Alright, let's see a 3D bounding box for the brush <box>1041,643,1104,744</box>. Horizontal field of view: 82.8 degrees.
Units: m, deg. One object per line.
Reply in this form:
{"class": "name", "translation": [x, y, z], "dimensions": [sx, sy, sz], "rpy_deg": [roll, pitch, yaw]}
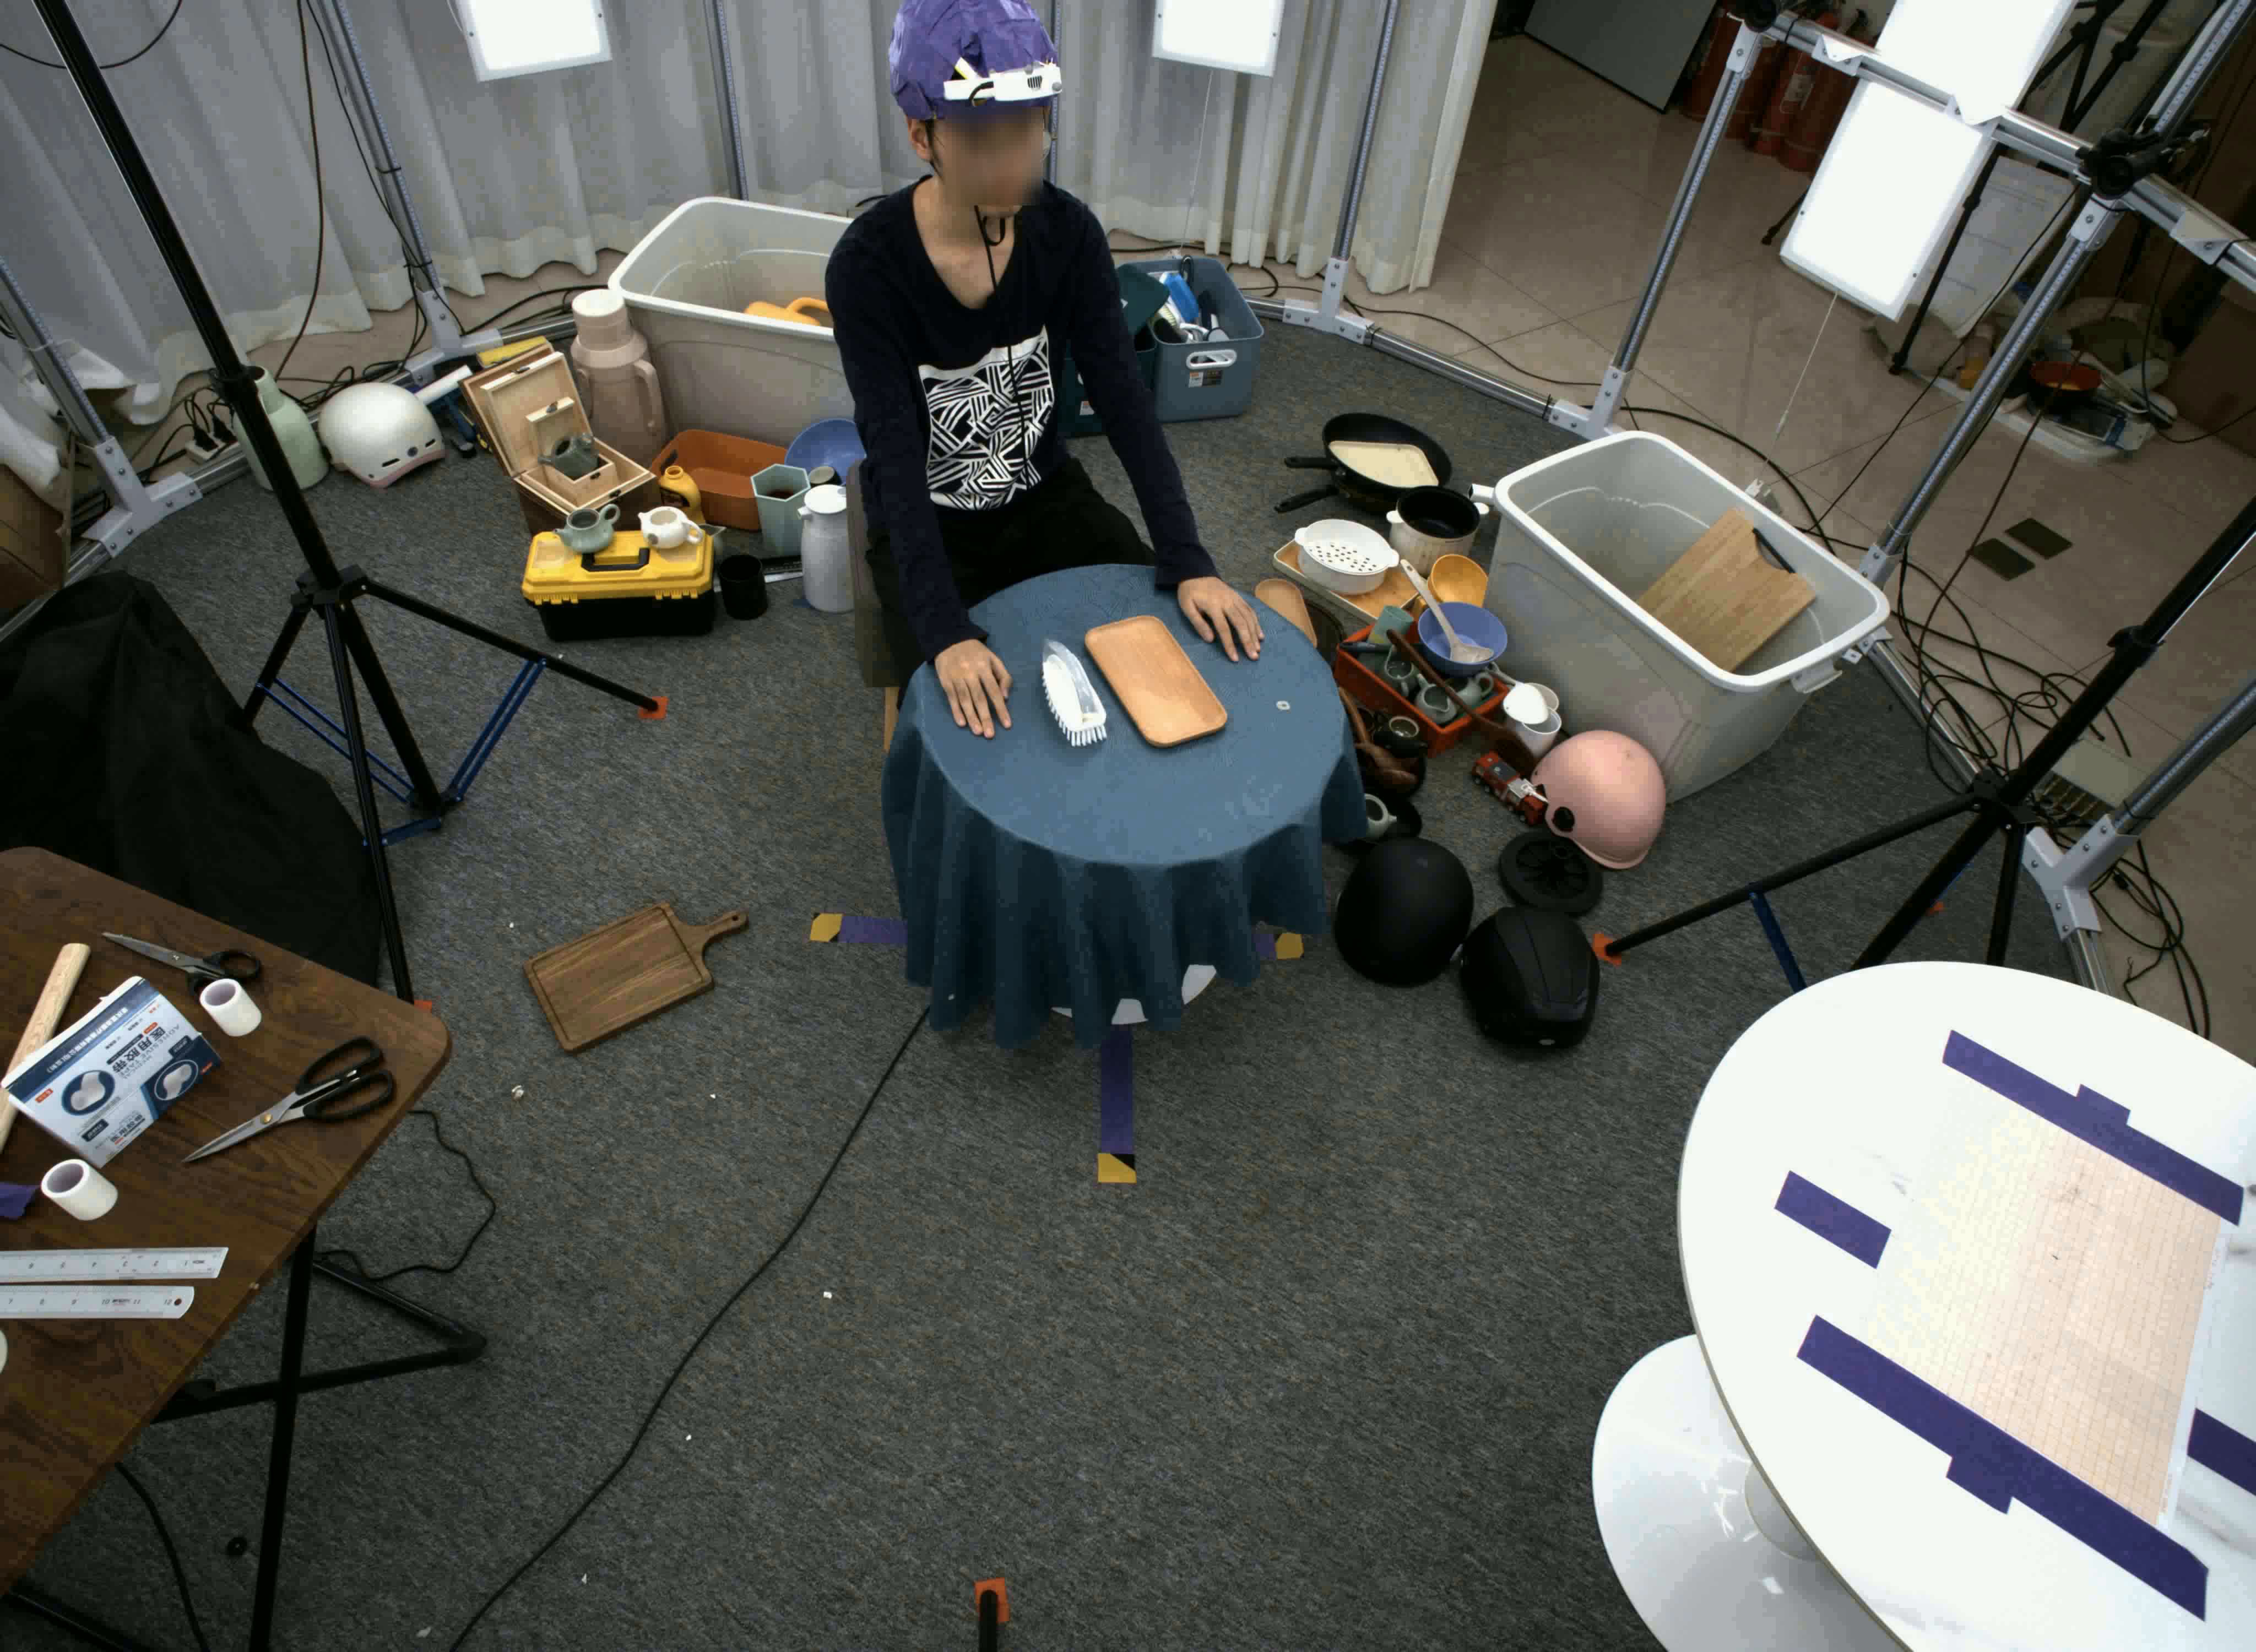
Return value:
{"class": "brush", "translation": [-0.085, -0.202, 1.779], "dimensions": [0.061, 0.092, 0.180], "rpy_deg": [-14, 49, -17]}

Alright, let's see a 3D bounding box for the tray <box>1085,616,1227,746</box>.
{"class": "tray", "translation": [0.037, -0.212, 1.843], "dimensions": [0.130, 0.022, 0.256], "rpy_deg": [-15, 50, -19]}
